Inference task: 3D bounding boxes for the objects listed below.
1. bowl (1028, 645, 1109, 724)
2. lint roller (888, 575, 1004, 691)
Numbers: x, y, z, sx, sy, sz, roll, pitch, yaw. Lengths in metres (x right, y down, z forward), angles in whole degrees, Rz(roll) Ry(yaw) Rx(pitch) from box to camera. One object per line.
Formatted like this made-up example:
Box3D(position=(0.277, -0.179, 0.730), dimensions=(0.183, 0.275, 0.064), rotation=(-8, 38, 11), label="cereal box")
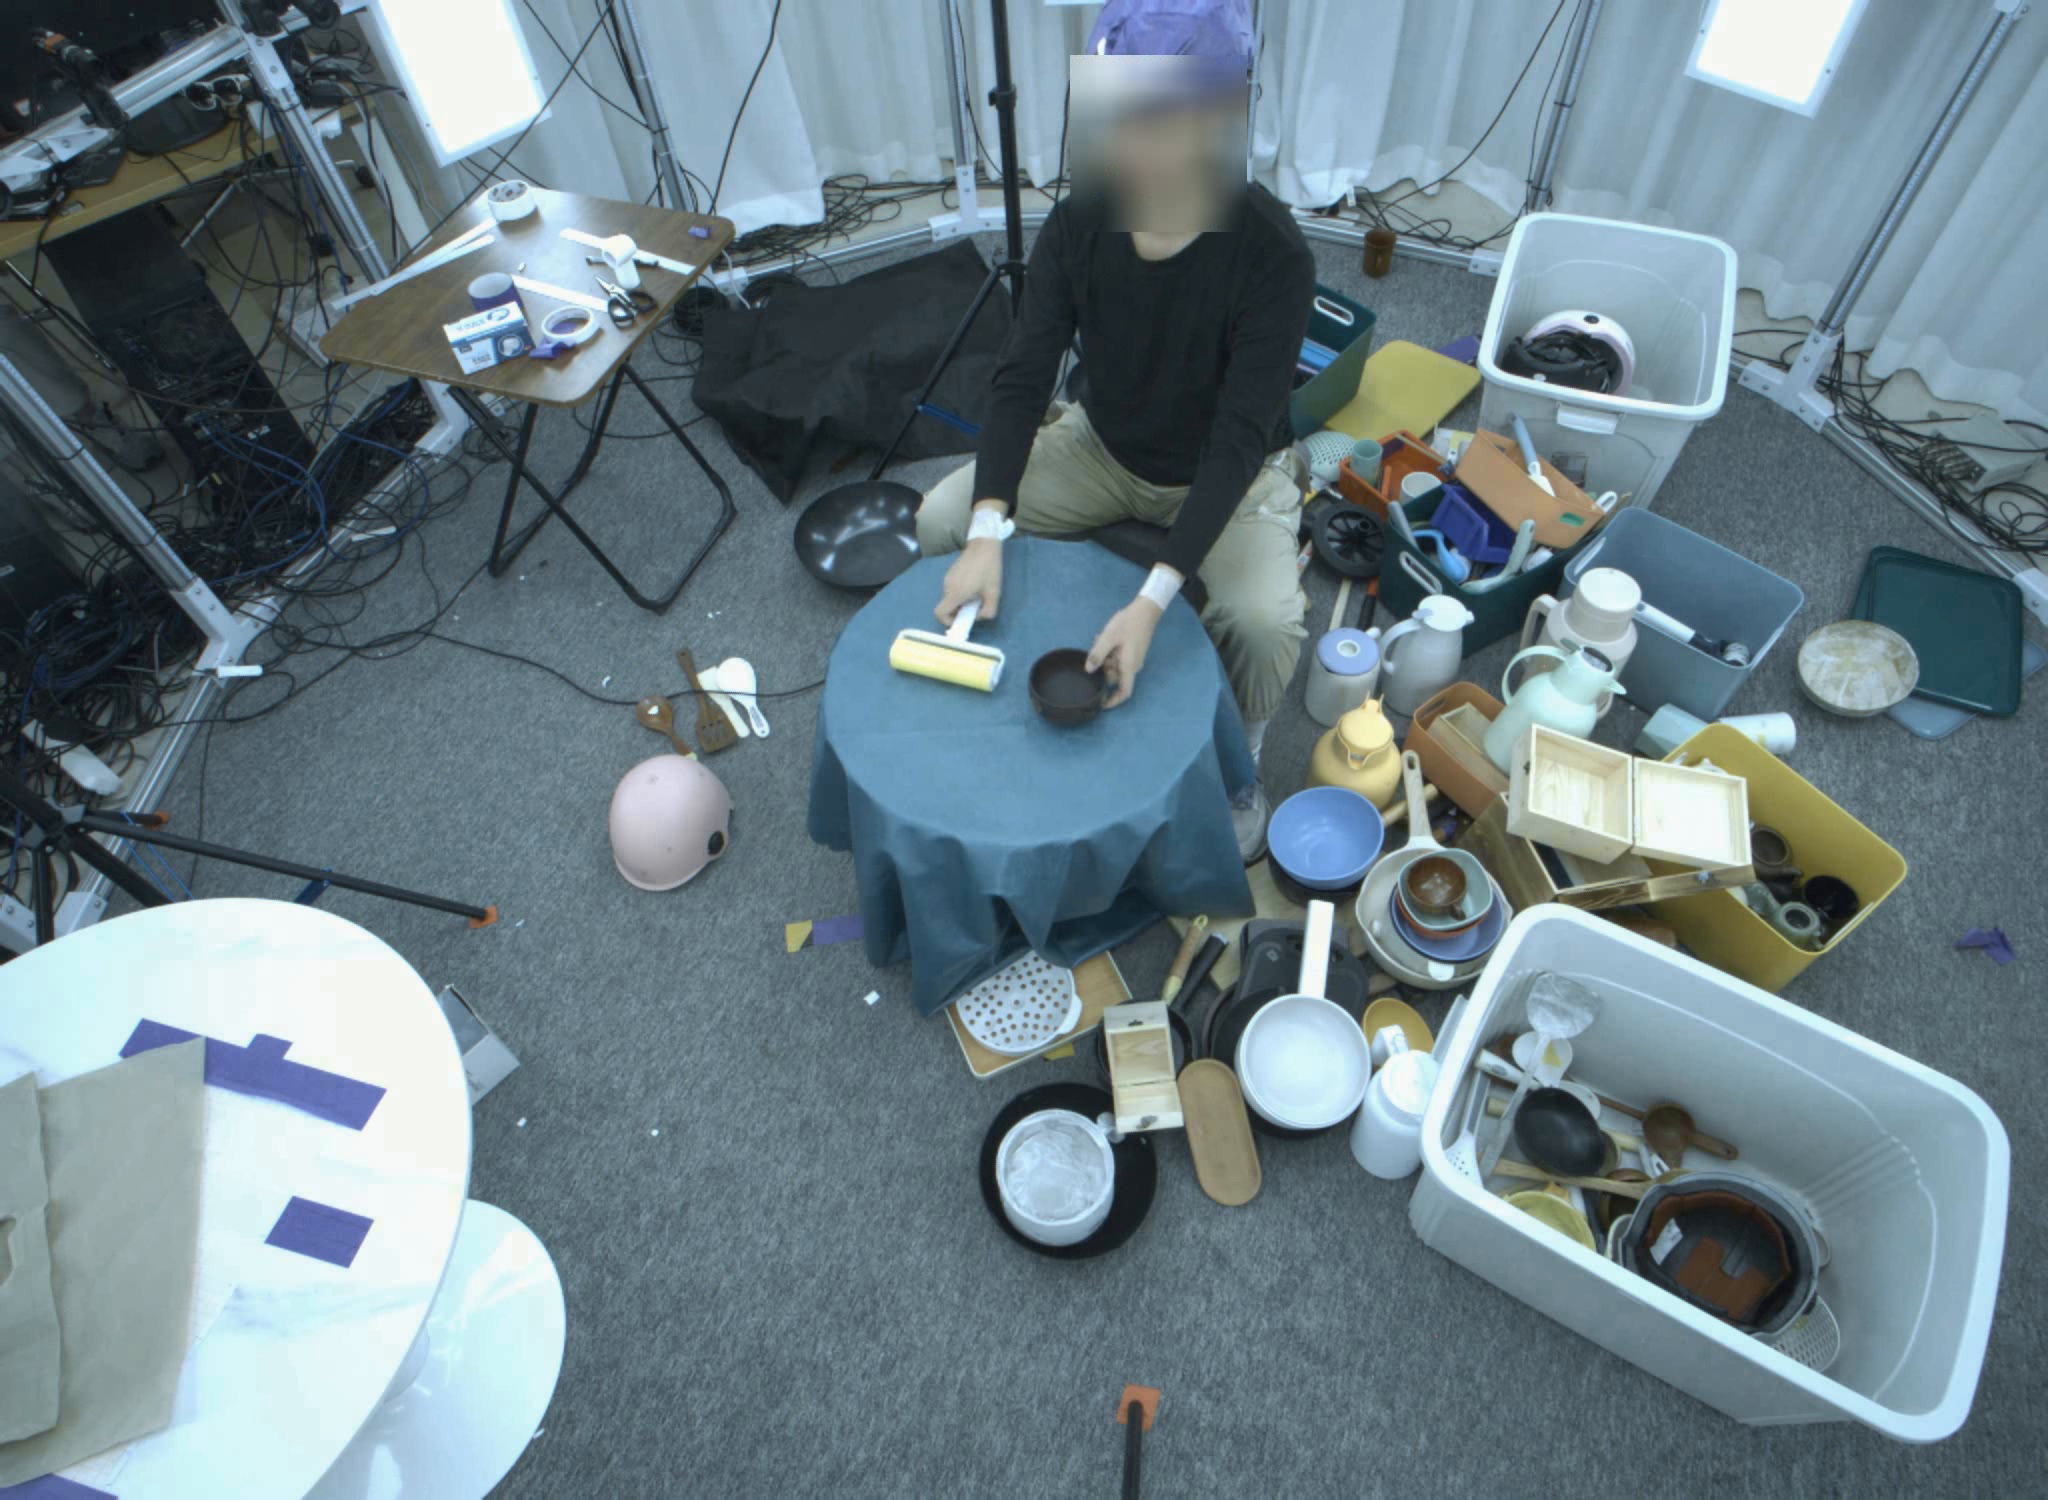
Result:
Box3D(position=(0.065, -0.088, 1.802), dimensions=(0.118, 0.070, 0.117), rotation=(0, 56, 2), label="bowl")
Box3D(position=(-0.101, -0.193, 1.878), dimensions=(0.173, 0.052, 0.191), rotation=(13, 73, 11), label="lint roller")
